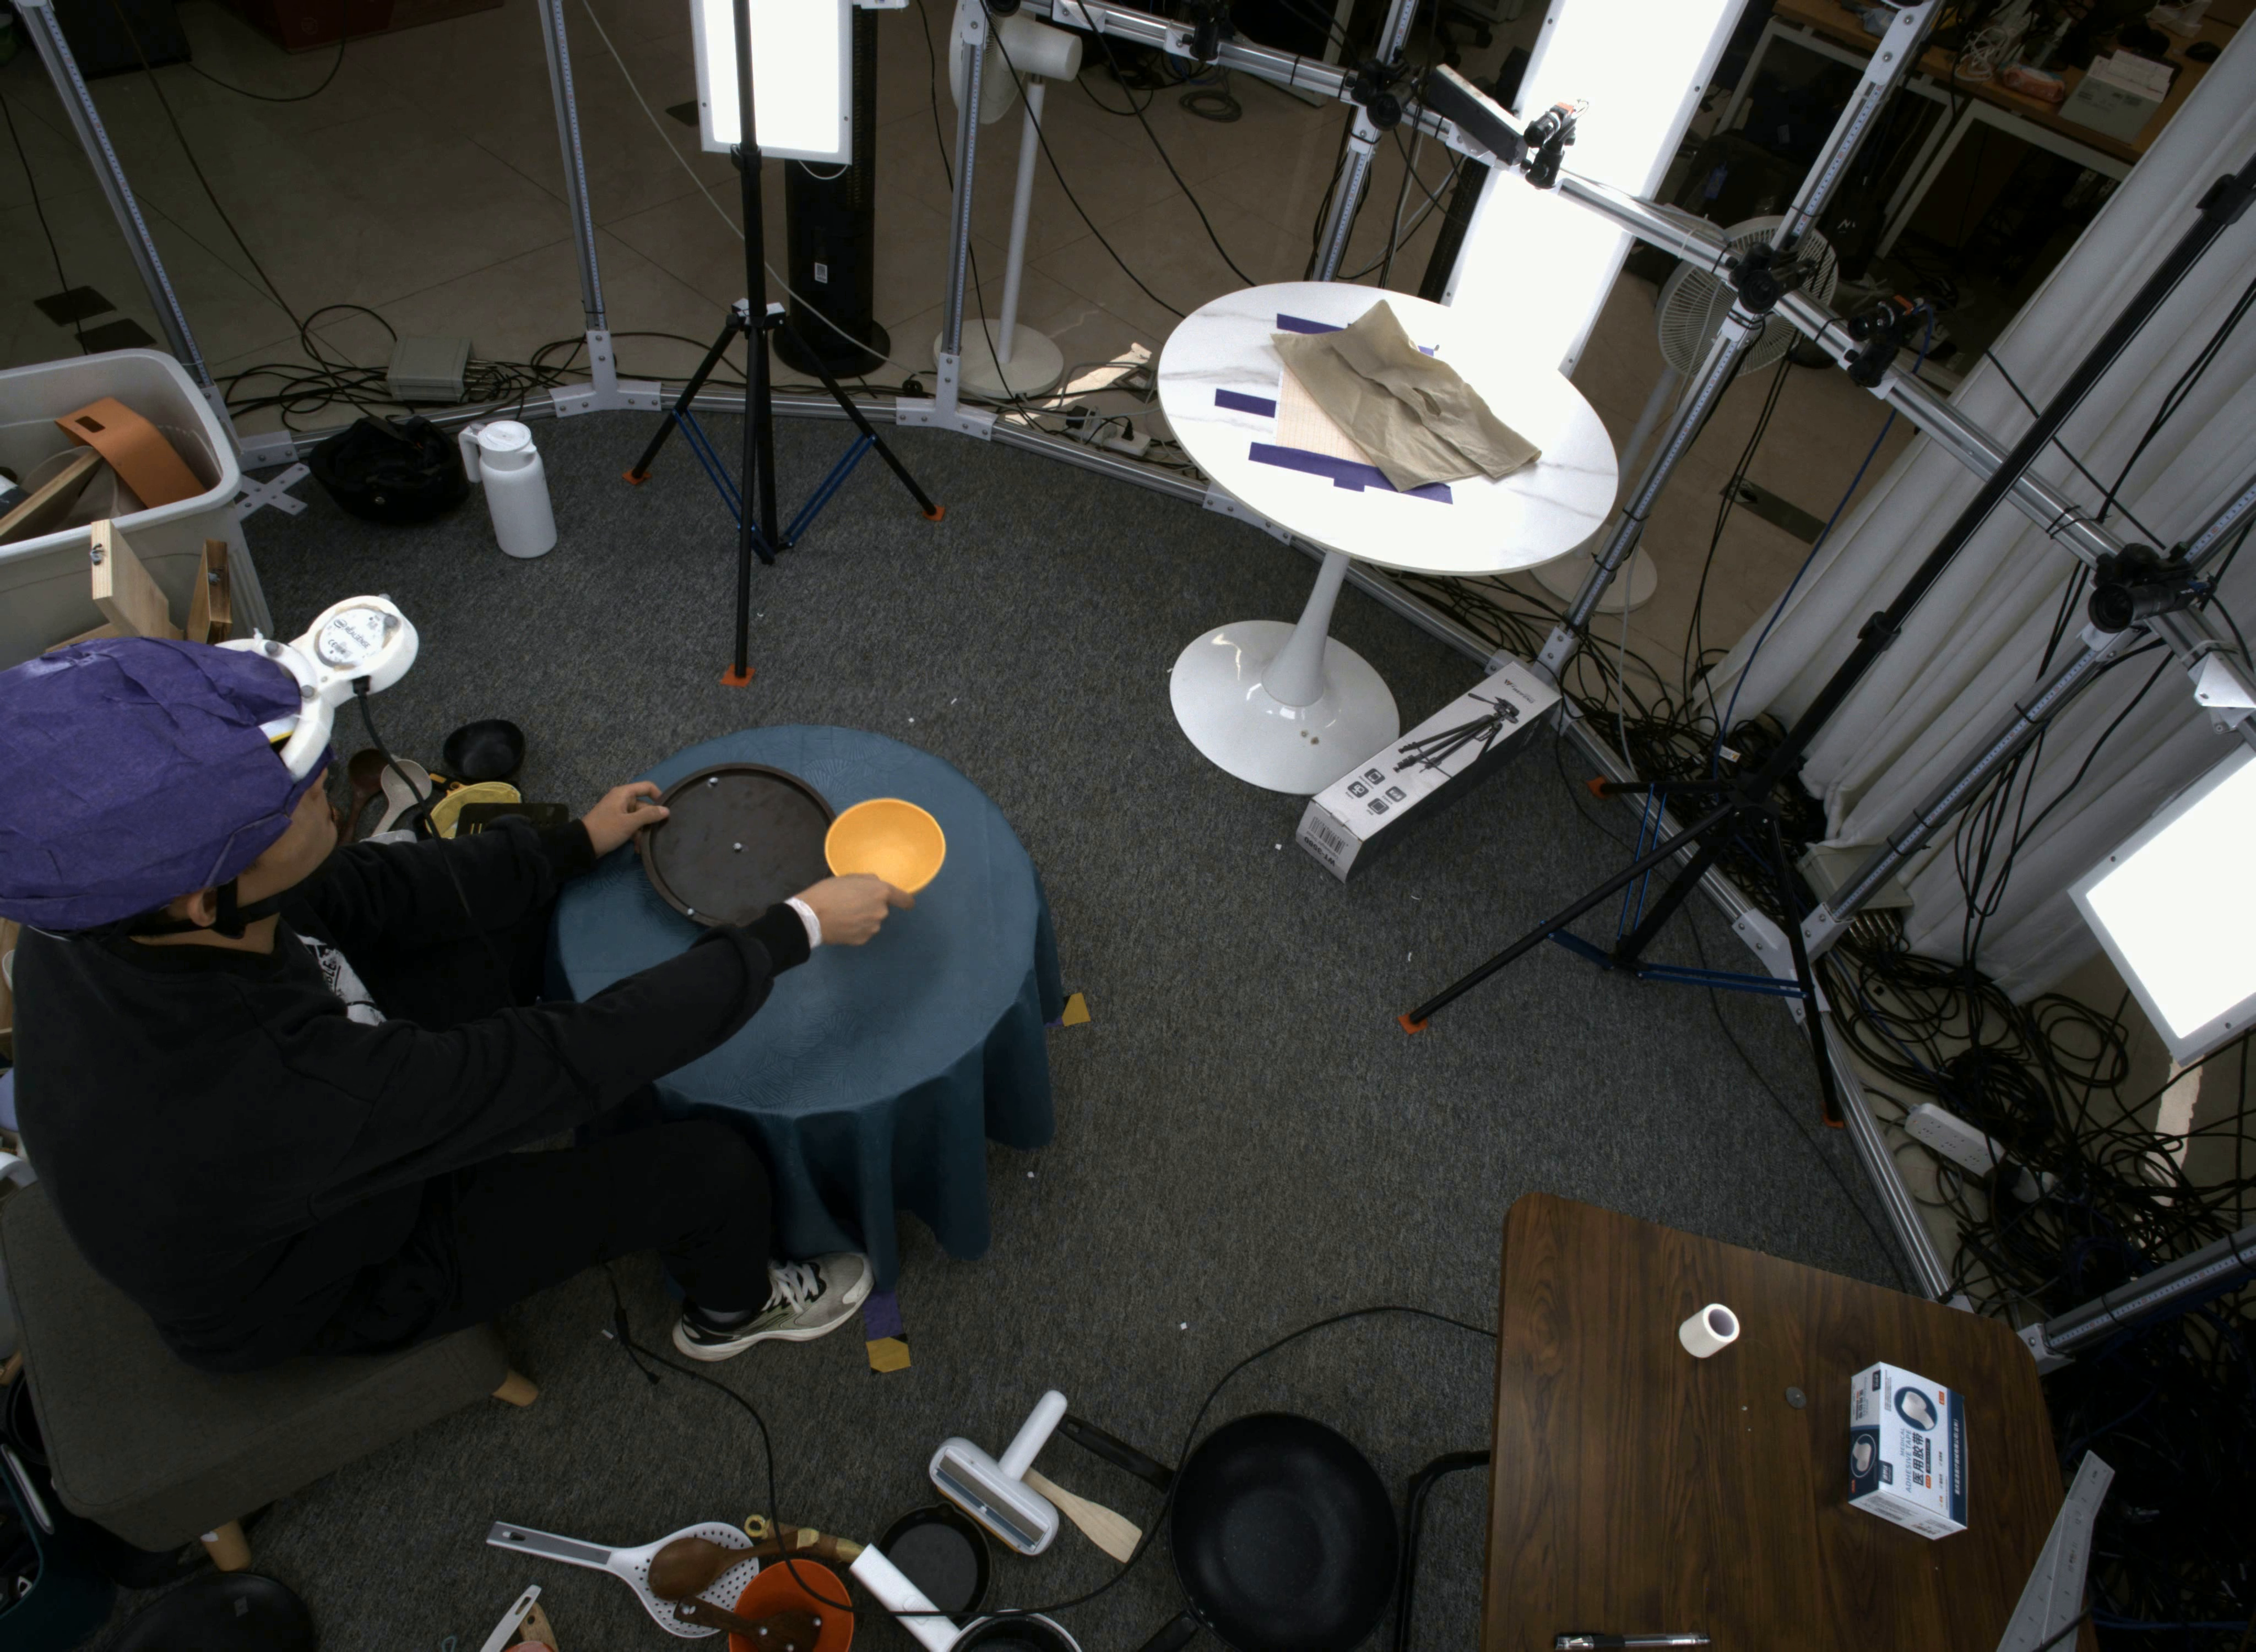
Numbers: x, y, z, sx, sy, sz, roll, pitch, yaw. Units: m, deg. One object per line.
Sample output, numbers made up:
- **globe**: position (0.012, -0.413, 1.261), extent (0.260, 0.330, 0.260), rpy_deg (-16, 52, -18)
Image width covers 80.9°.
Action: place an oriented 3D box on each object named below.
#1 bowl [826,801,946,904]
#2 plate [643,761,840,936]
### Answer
- **bowl**: position (-0.296, 0.042, 1.600), extent (0.144, 0.061, 0.143), rpy_deg (5, 54, -6)
- **plate**: position (-0.491, 0.026, 1.657), extent (0.256, 0.029, 0.251), rpy_deg (11, 58, -16)
